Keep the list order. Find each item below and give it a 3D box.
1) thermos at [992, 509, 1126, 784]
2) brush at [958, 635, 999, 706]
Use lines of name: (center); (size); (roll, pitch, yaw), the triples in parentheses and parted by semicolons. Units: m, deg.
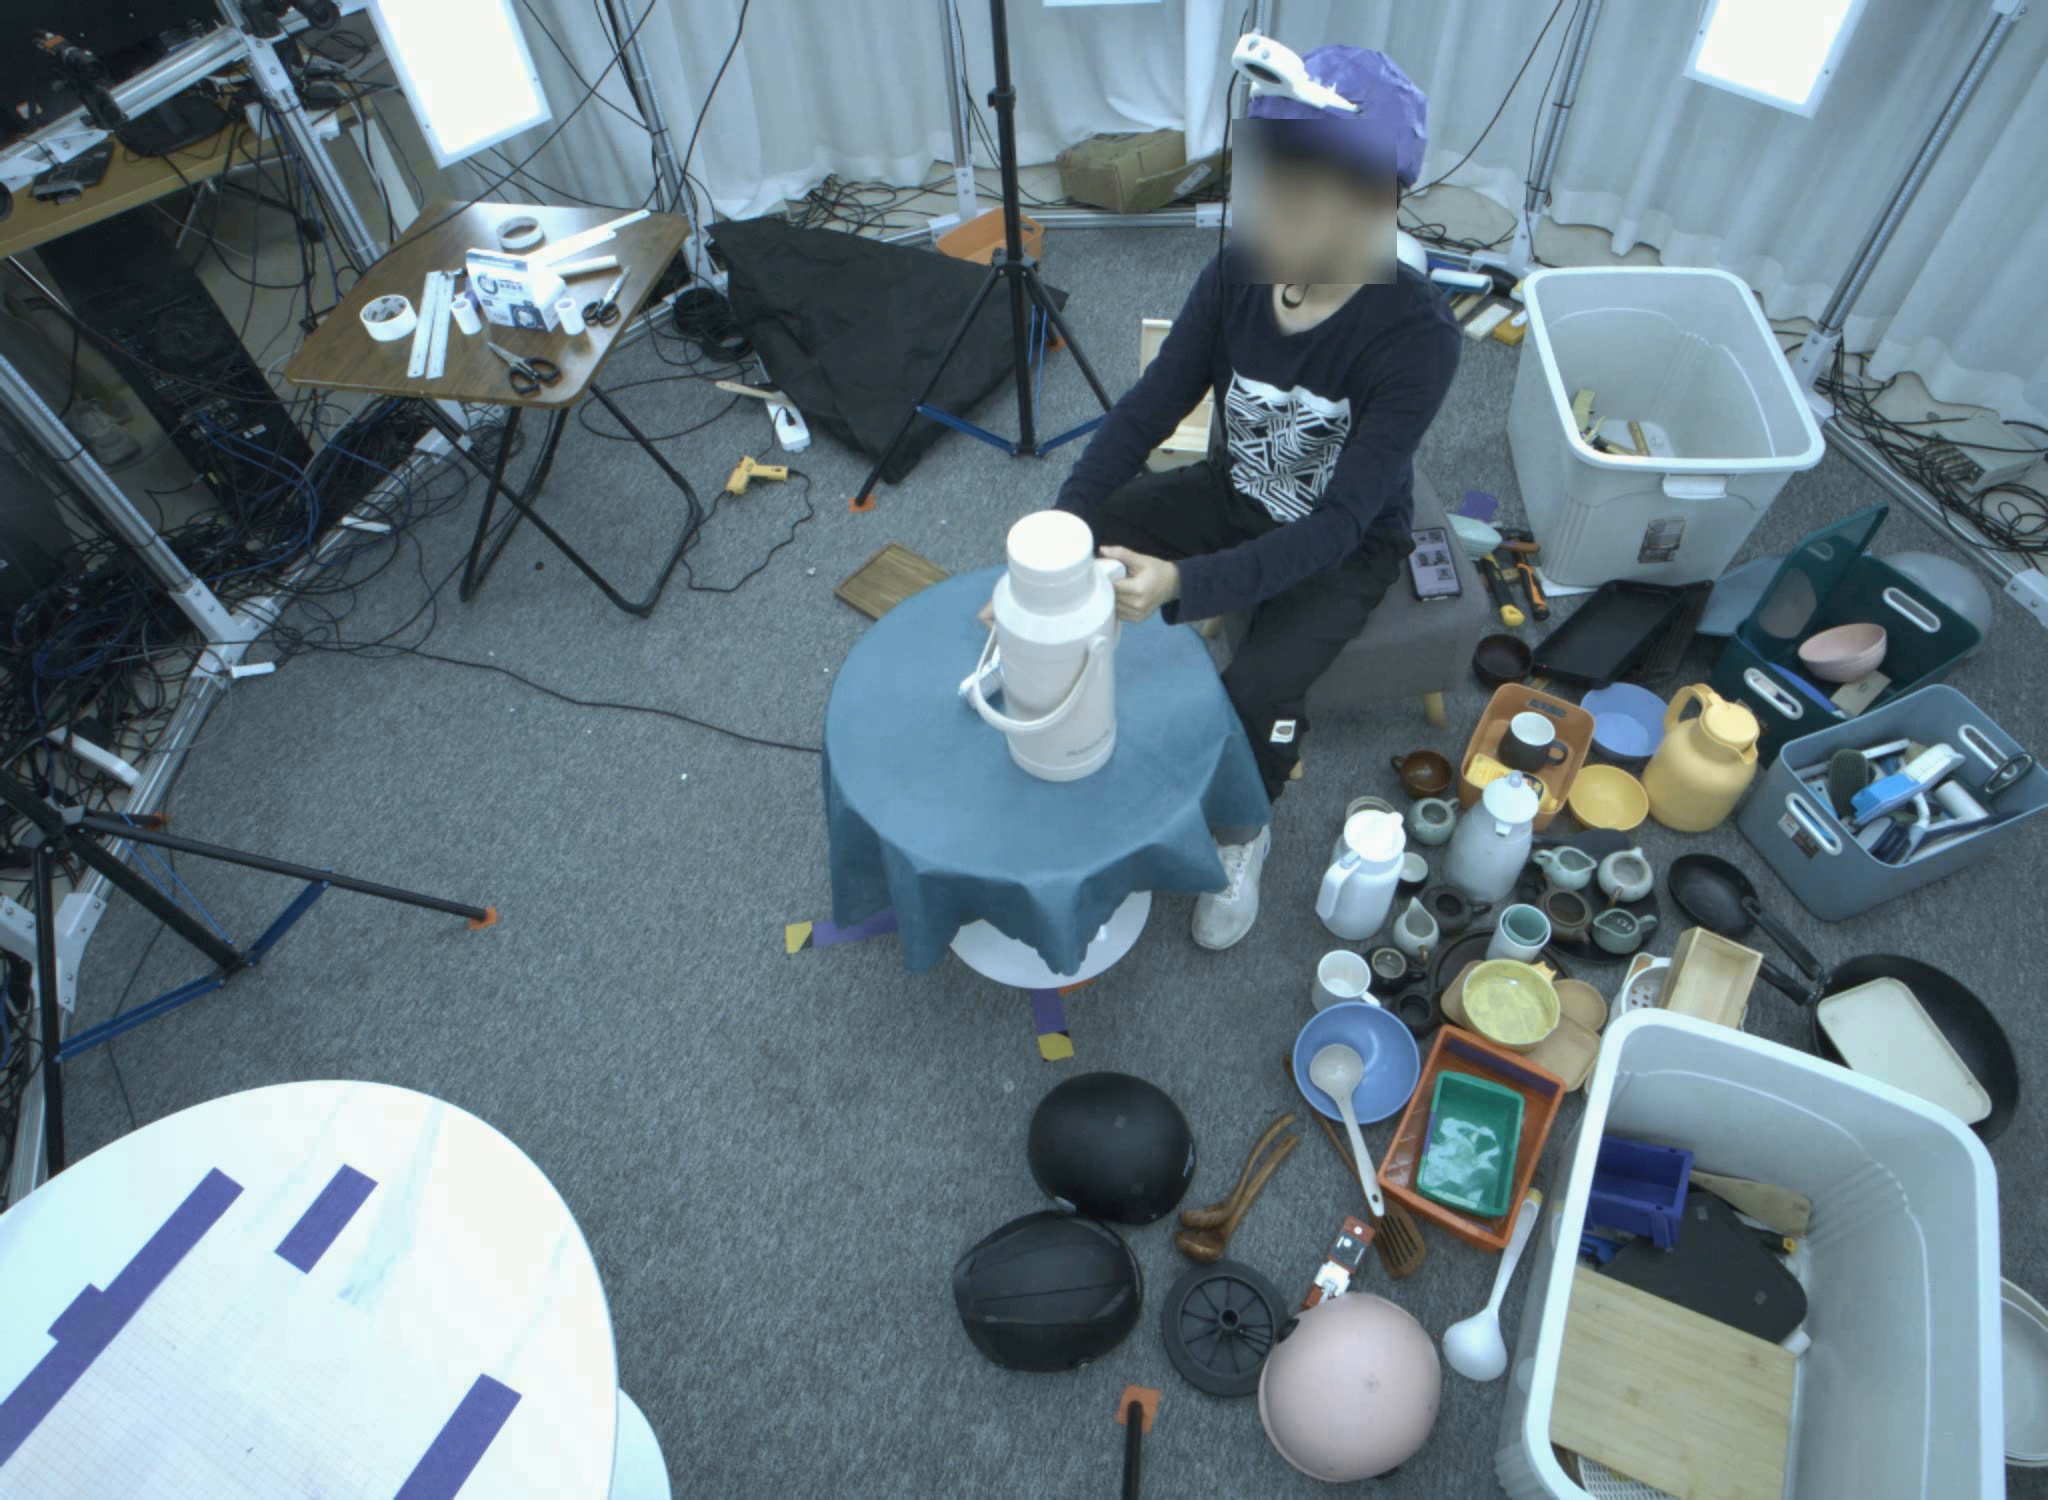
thermos: (0.055, -0.140, 1.633); (0.208, 0.411, 0.172); (-38, 58, -21)
brush: (-0.024, -0.163, 1.860); (0.049, 0.035, 0.244); (23, 59, 18)
